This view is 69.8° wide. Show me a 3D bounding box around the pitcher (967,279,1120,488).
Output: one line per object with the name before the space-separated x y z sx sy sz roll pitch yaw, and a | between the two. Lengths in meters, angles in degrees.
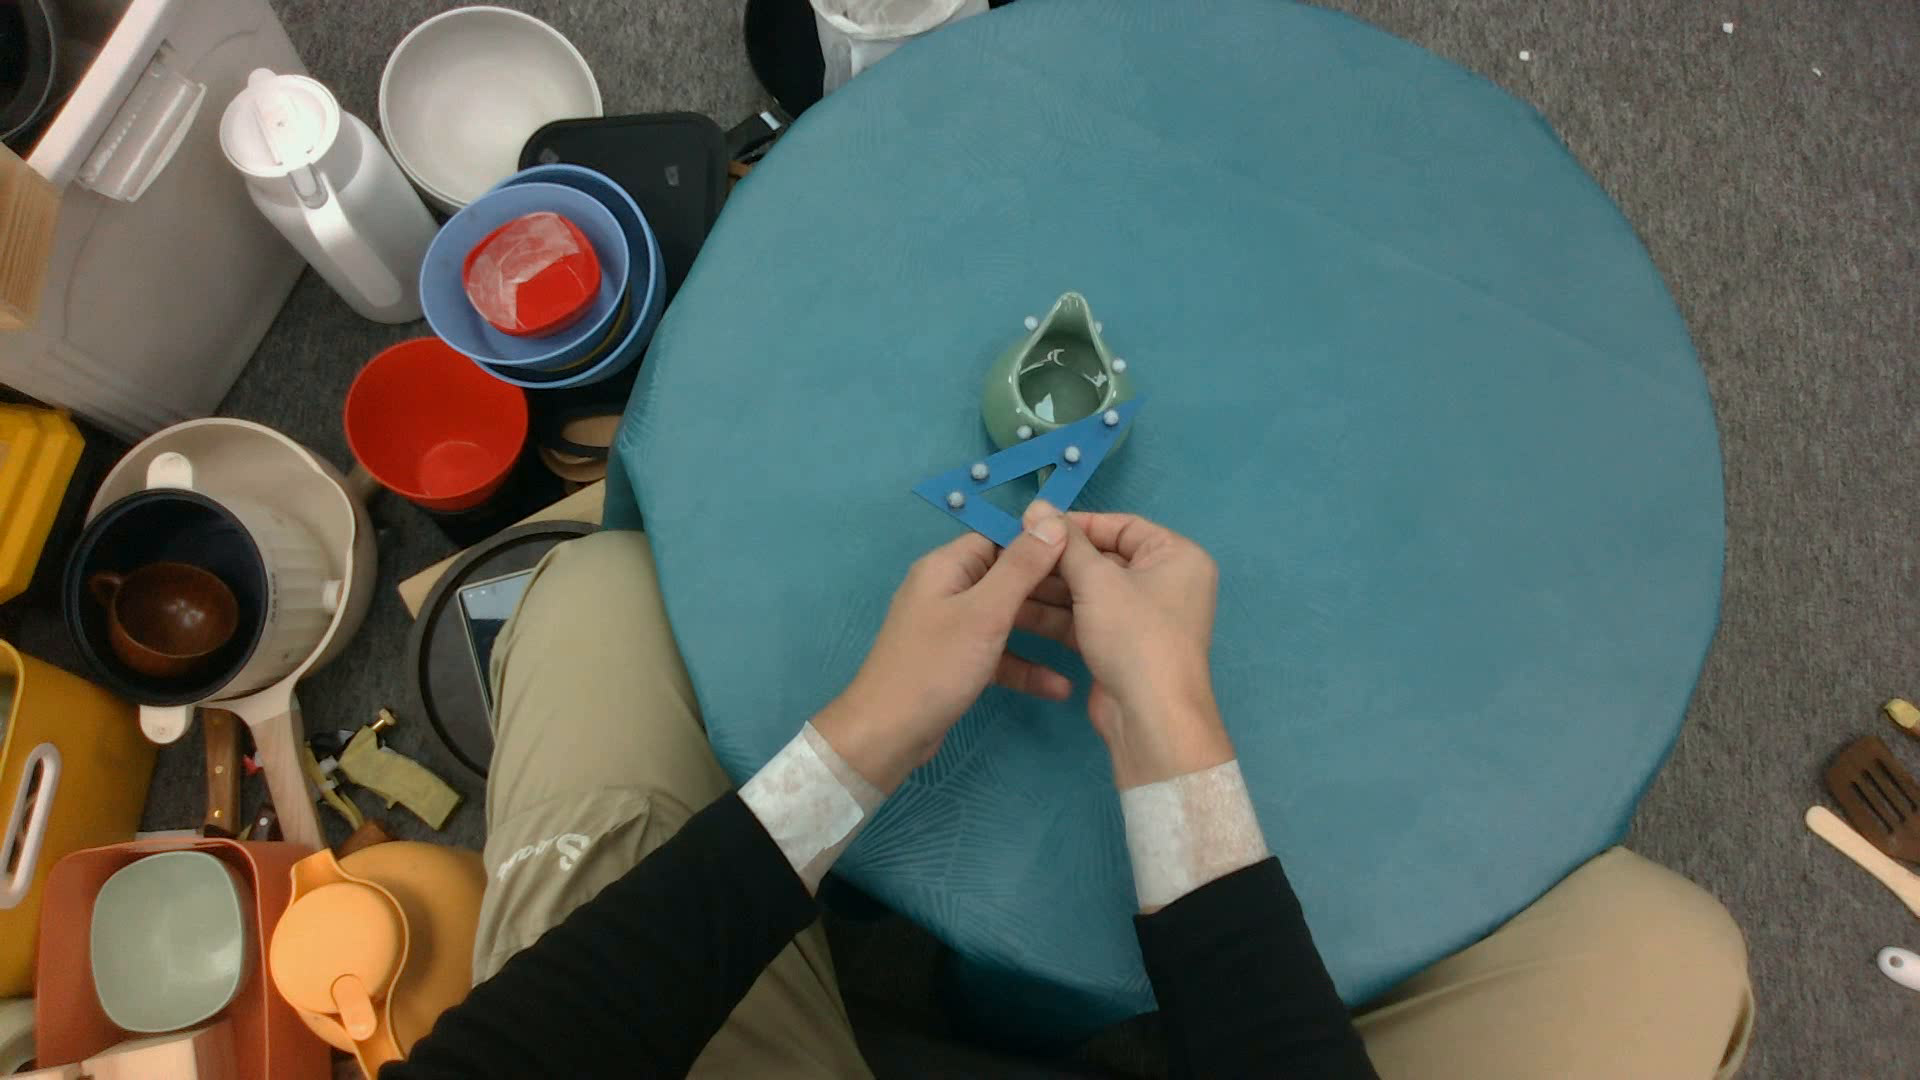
pitcher | 0.045 -0.078 0.740 0.084 0.056 0.113 4 73 2

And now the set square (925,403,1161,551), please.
set square | 0.053 -0.031 0.690 0.132 0.006 0.061 -19 65 -18
